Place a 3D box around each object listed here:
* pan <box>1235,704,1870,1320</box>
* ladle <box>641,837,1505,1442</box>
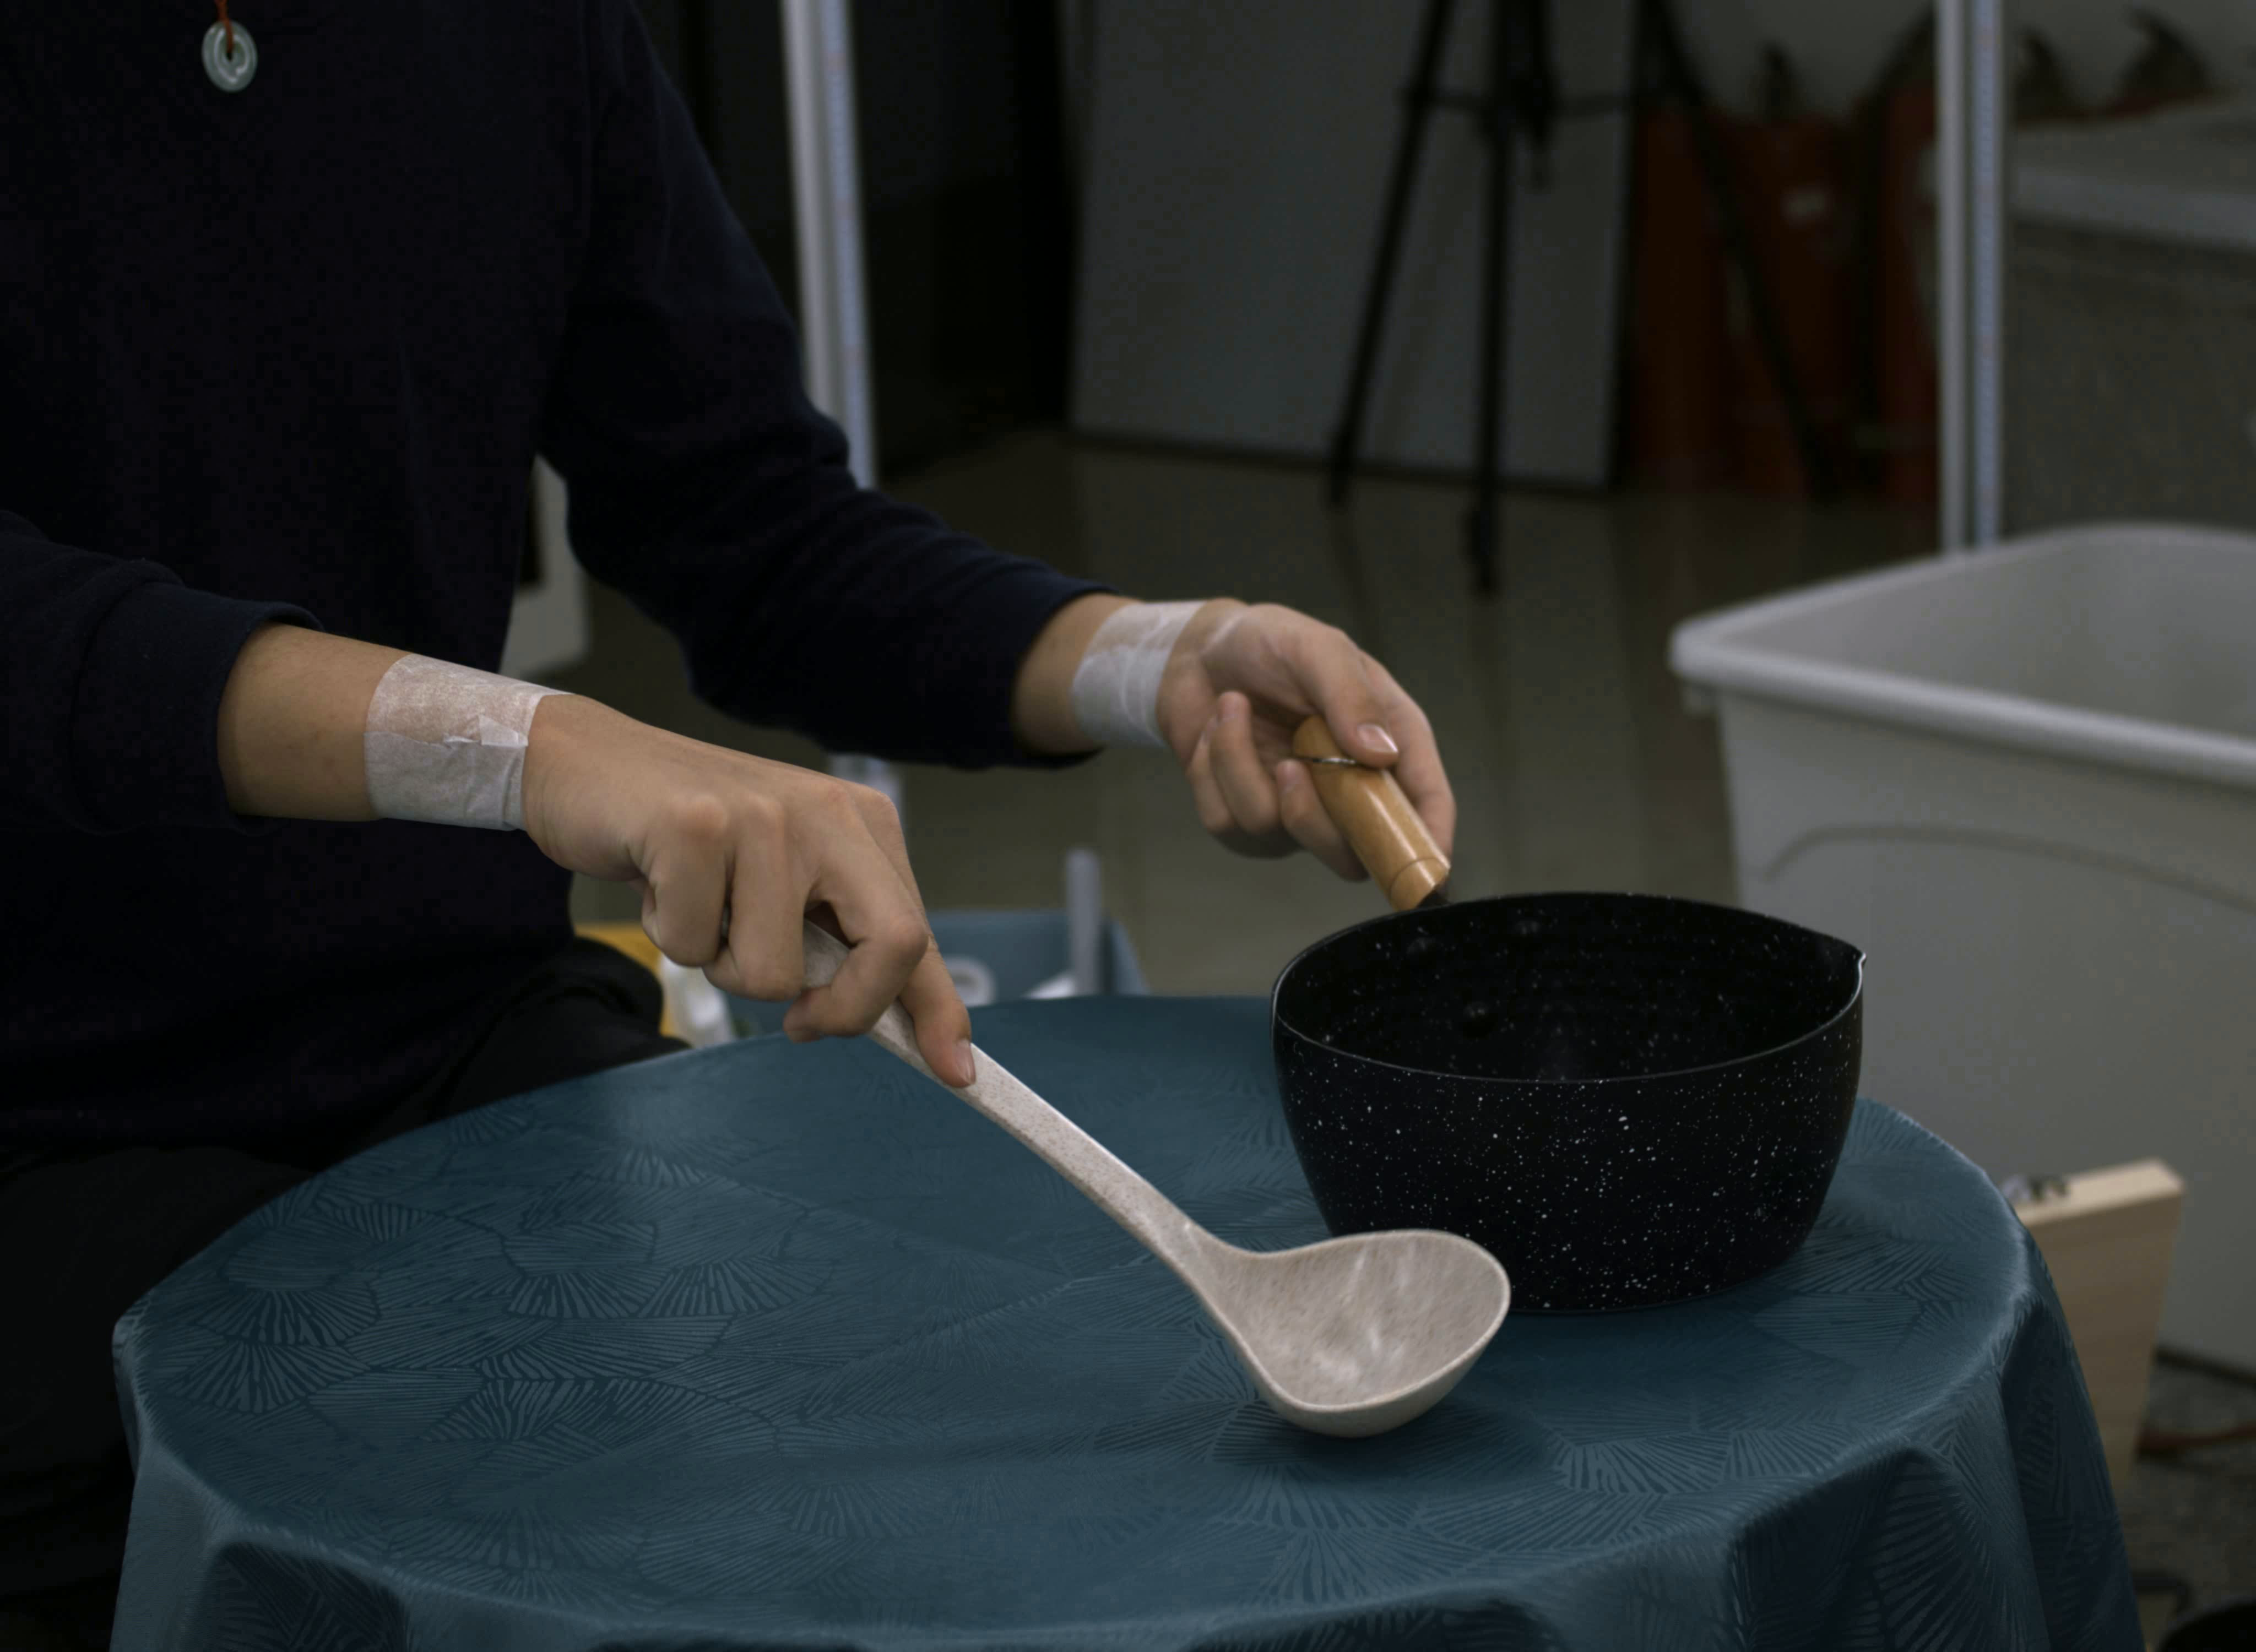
[{"bbox_3d":[0.115,0.055,1.752,0.203,0.109,0.346,-9,18,-14],"label":"pan"},{"bbox_3d":[-0.014,0.073,1.527,0.070,0.273,0.089,-46,8,35],"label":"ladle"}]
